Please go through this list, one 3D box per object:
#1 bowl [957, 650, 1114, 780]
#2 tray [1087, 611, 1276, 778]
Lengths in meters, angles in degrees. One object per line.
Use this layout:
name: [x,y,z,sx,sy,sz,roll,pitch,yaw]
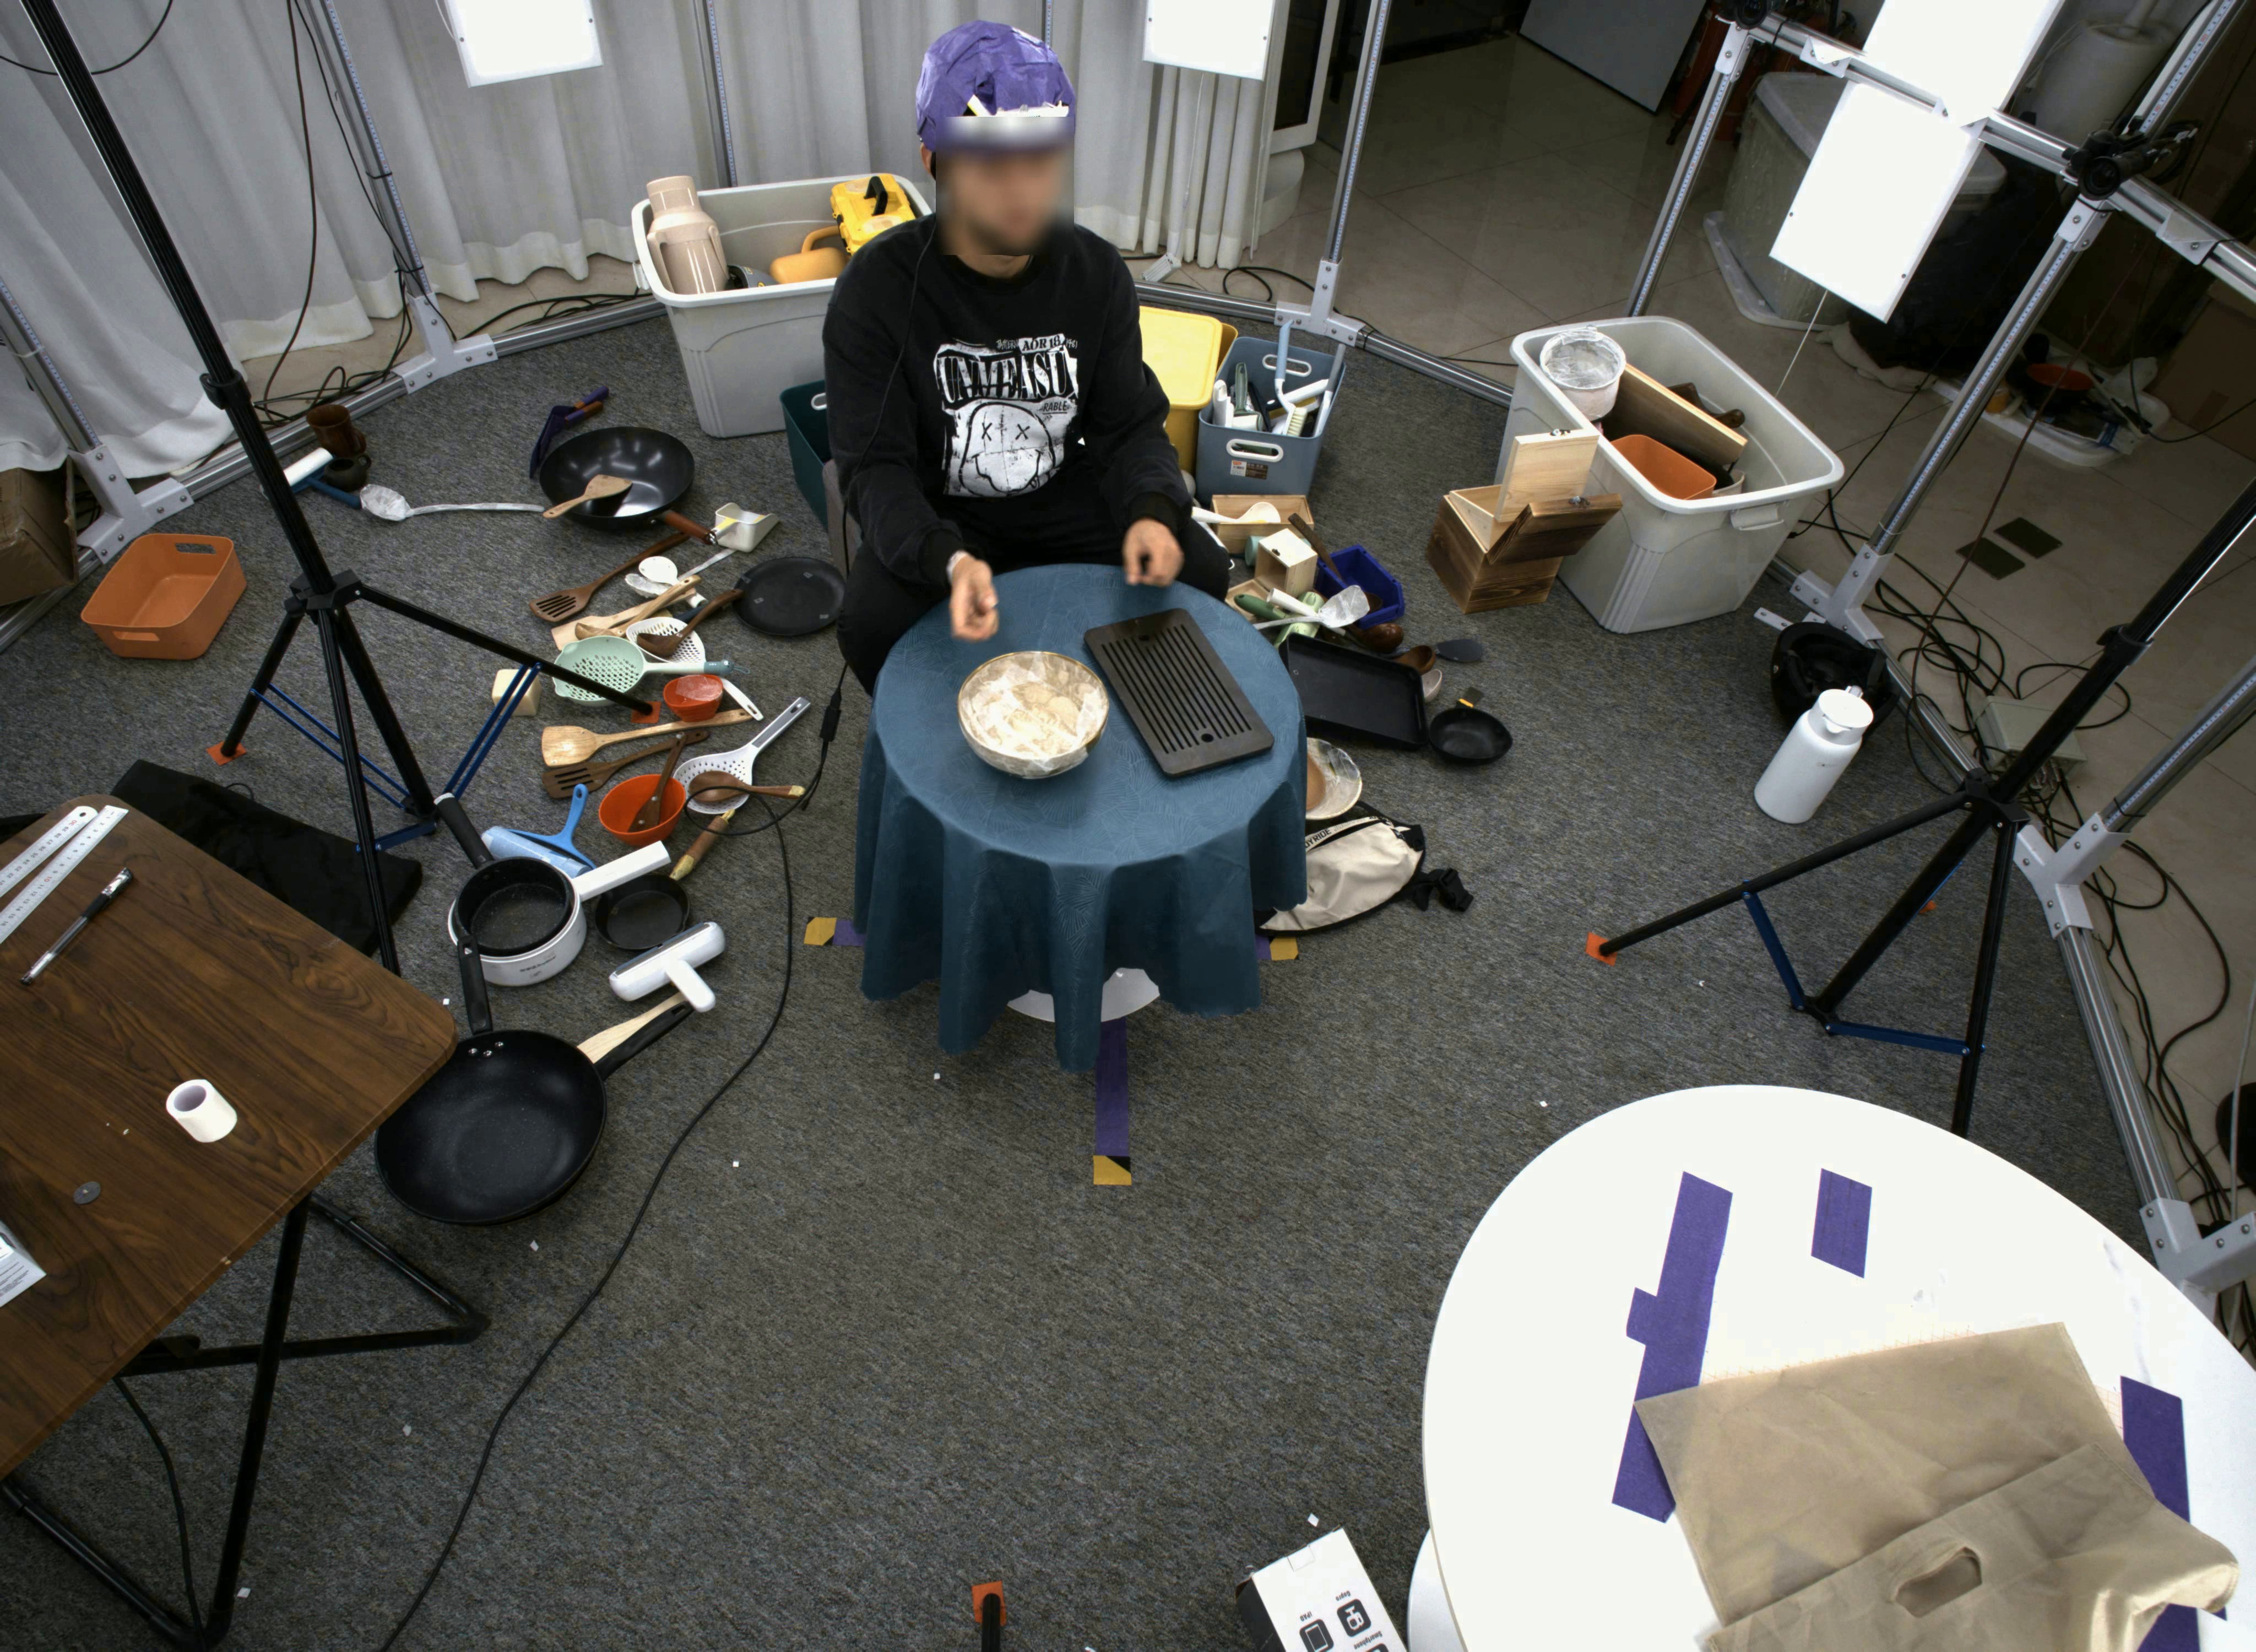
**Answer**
bowl: [-0.123,-0.136,1.734,0.214,0.092,0.220,1,49,-2]
tray: [0.072,-0.194,1.847,0.170,0.018,0.313,-16,51,-17]
